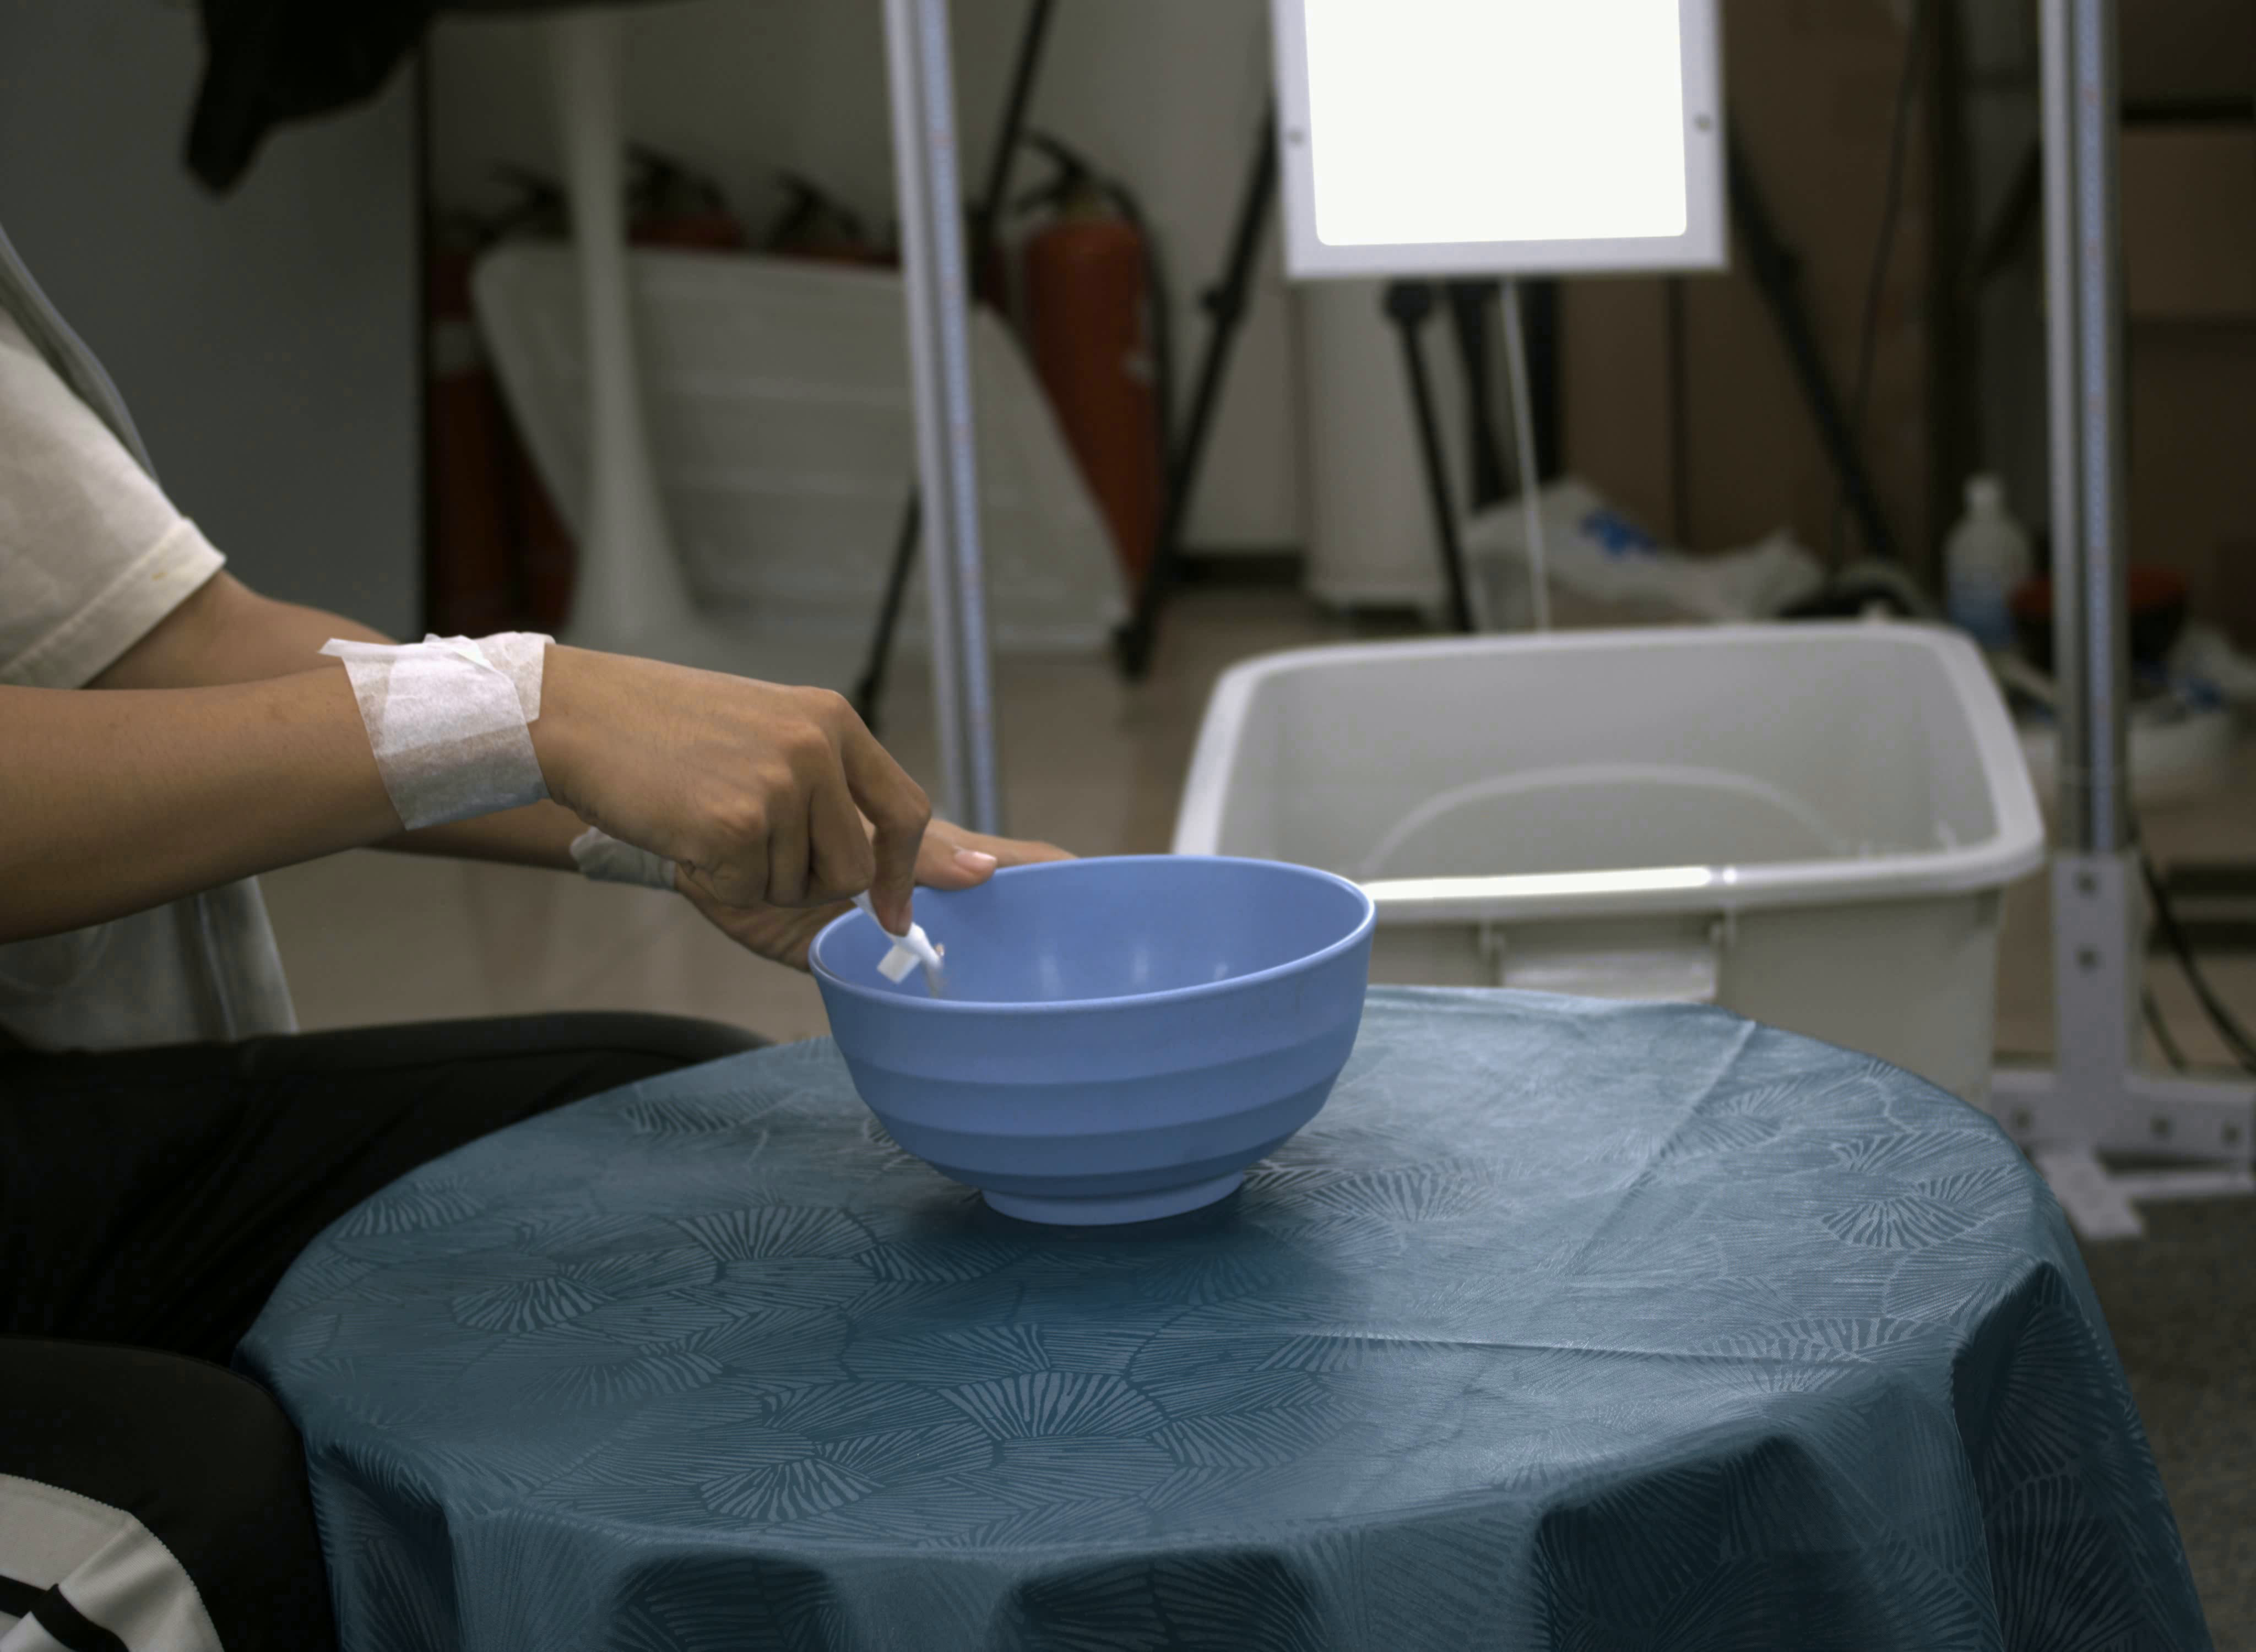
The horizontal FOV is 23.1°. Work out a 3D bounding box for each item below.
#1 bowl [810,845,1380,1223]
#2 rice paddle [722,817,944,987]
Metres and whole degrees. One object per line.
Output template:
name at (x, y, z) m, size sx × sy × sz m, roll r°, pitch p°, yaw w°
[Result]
bowl at (-0.009, 0.077, 1.896) m, size 0.196 × 0.096 × 0.196 m, roll -4°, pitch 15°, yaw 0°
rice paddle at (-0.070, 0.054, 1.896) m, size 0.070 × 0.029 × 0.202 m, roll 17°, pitch -16°, yaw 40°
